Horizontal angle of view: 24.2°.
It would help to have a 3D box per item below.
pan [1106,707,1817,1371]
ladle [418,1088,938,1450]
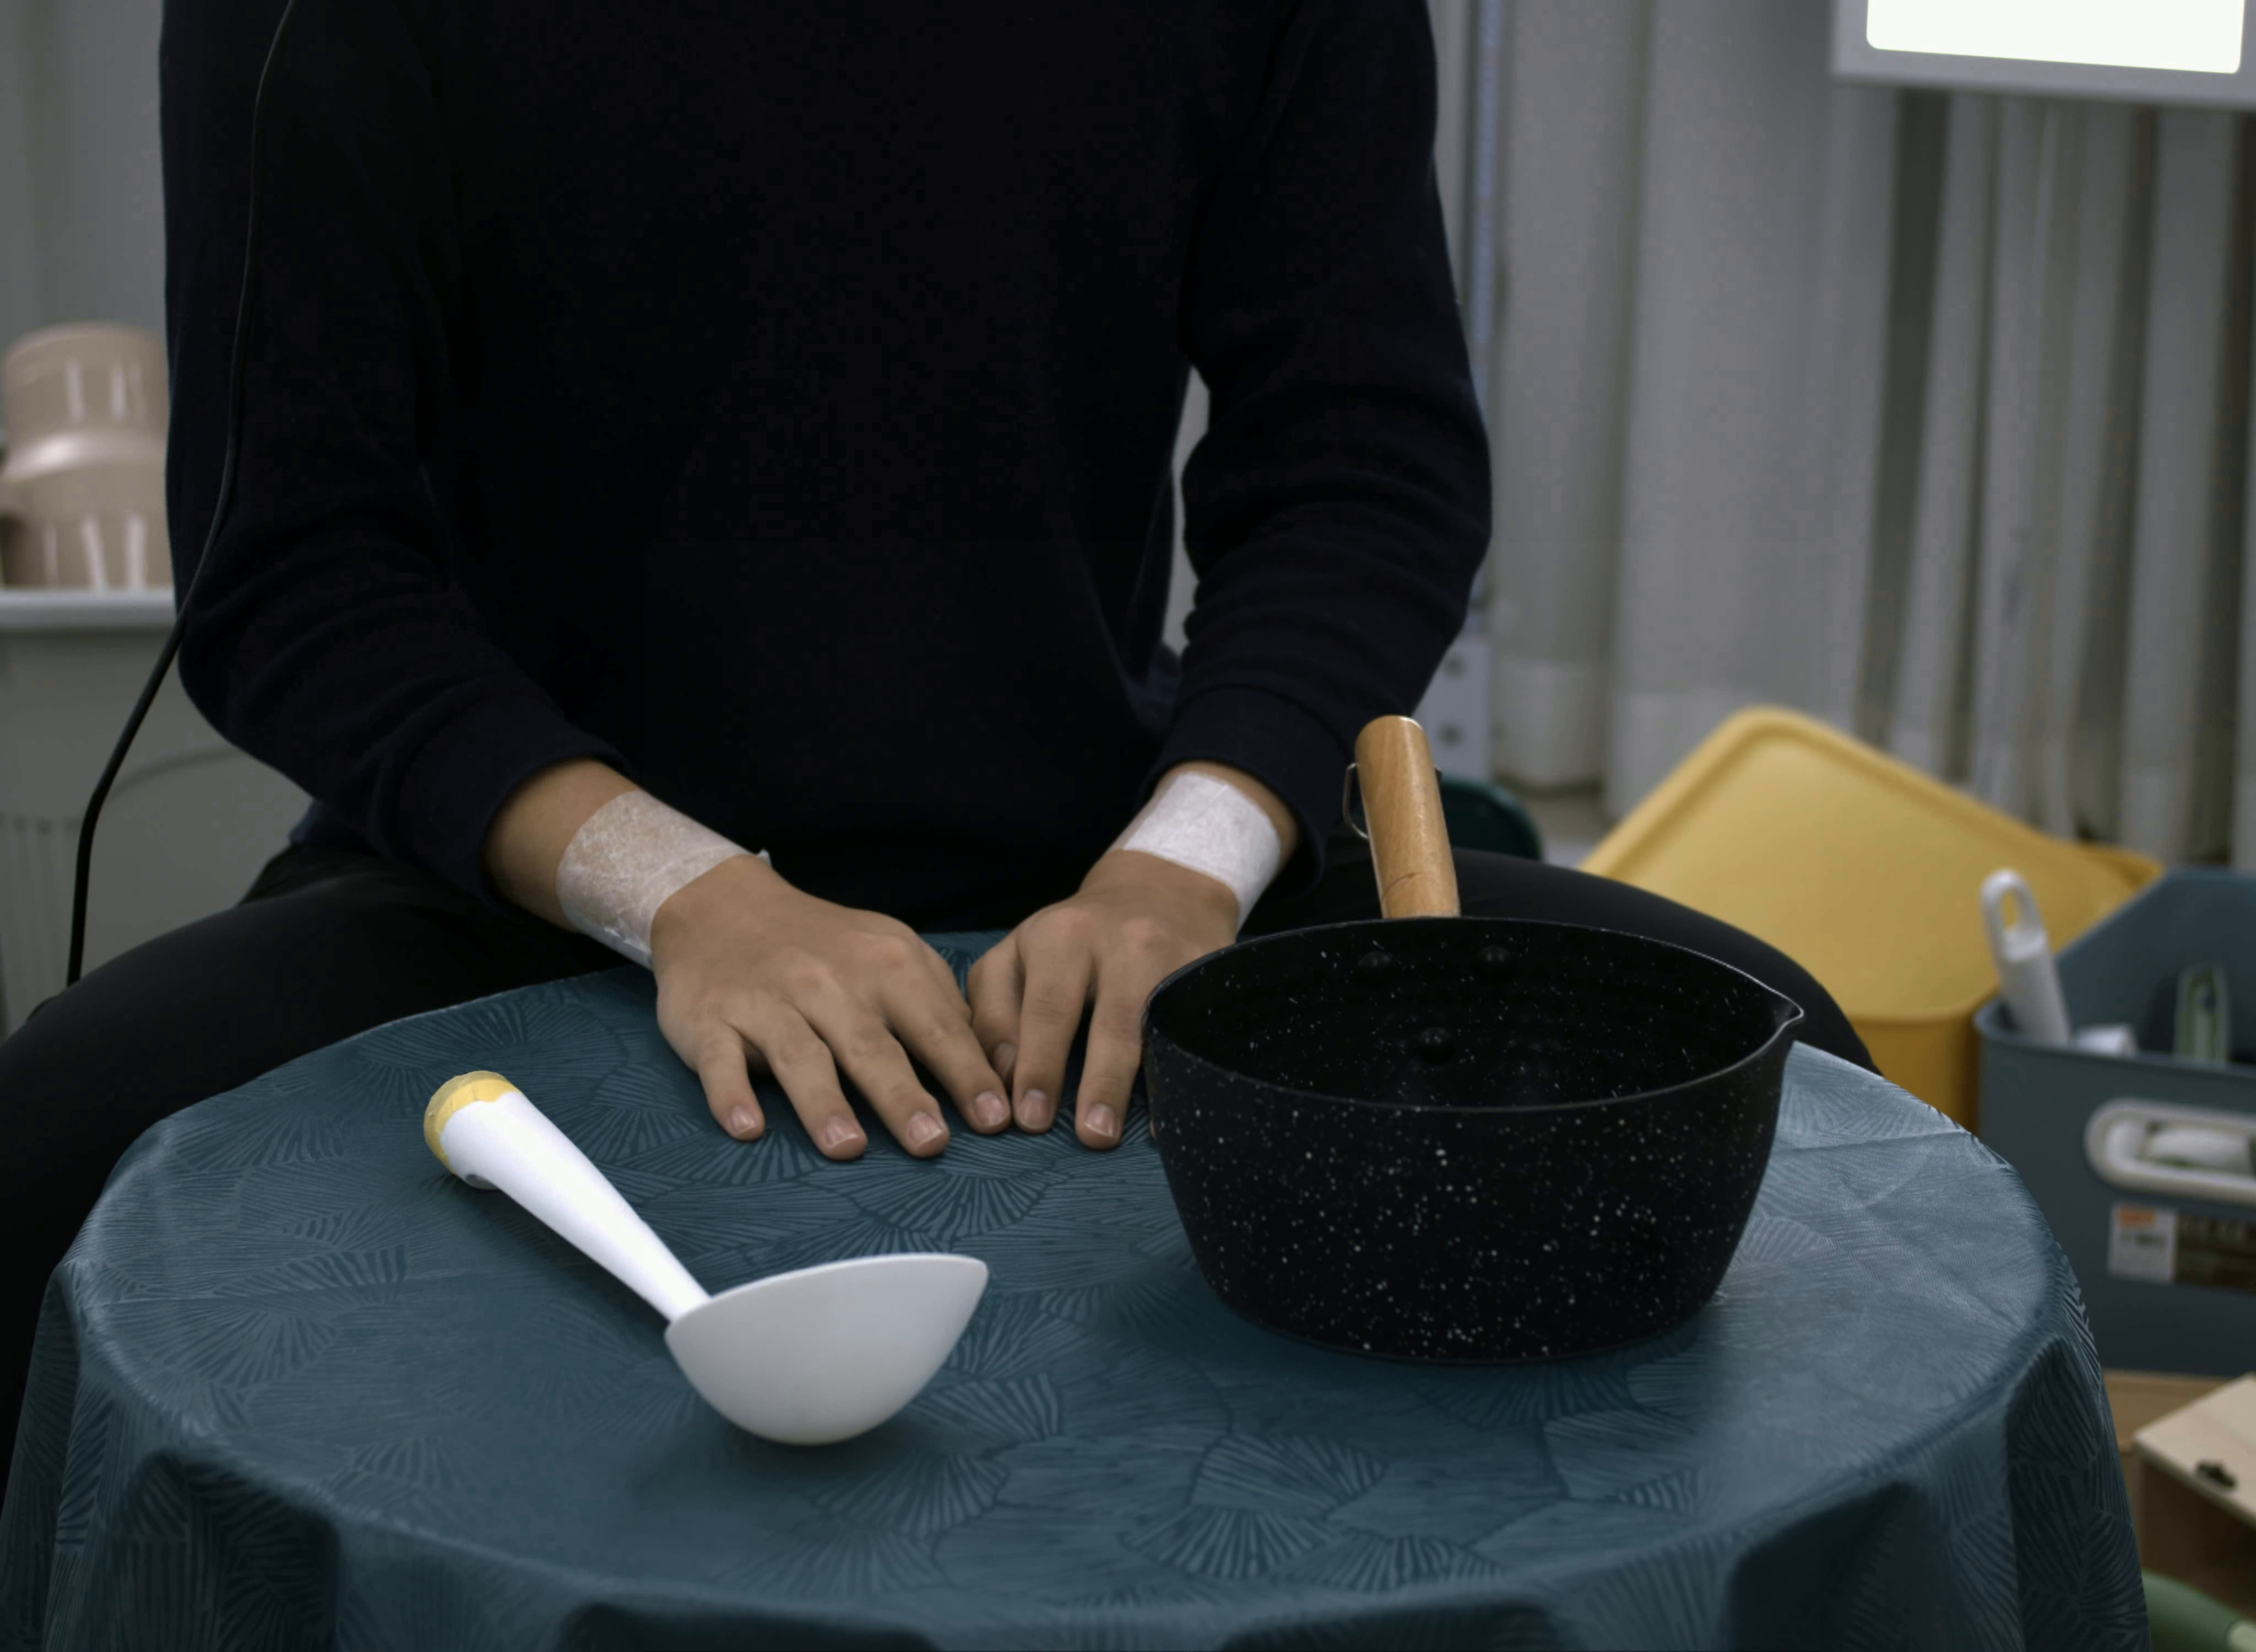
[{"bbox_3d":[0.093,0.060,1.612,0.207,0.109,0.340,-2,17,-3],"label":"pan"},{"bbox_3d":[-0.142,0.111,1.502,0.090,0.070,0.289,-13,19,-24],"label":"ladle"}]
